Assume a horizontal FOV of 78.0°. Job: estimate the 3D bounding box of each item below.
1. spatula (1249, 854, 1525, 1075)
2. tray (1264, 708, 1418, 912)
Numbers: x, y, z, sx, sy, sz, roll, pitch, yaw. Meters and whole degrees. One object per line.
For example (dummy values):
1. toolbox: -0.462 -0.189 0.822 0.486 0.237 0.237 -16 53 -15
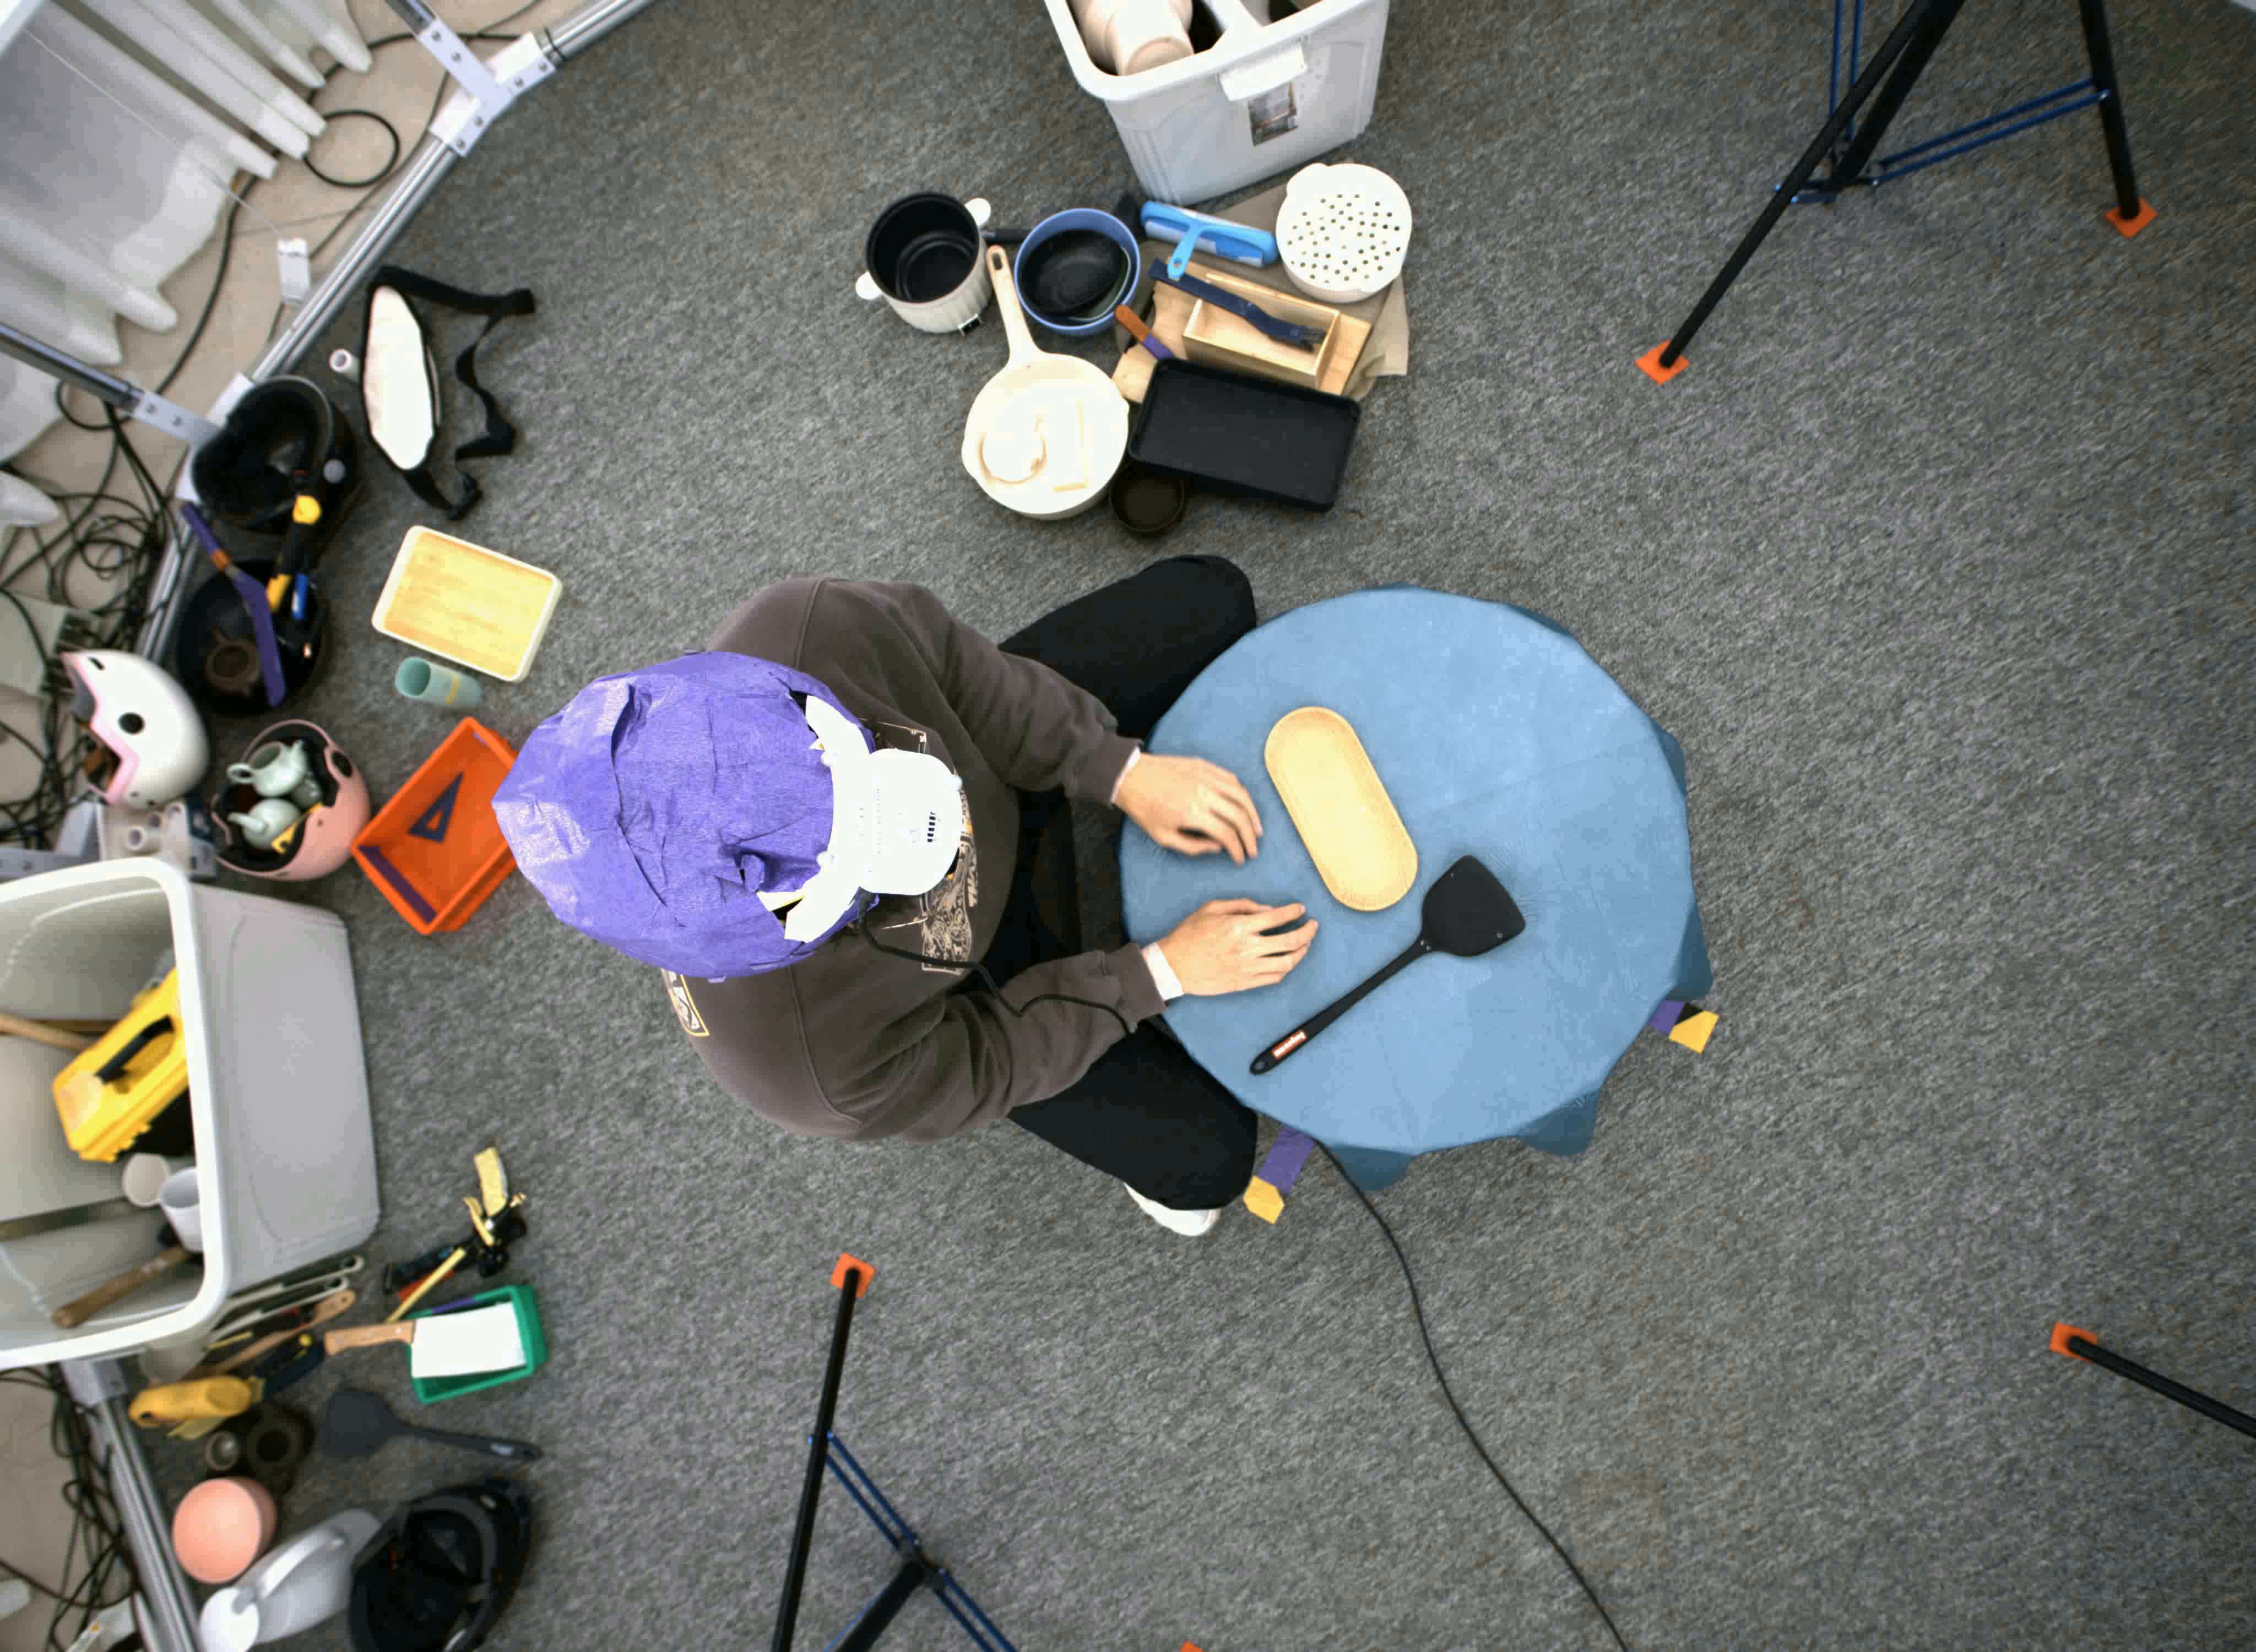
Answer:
1. spatula: 0.256 0.159 1.437 0.328 0.040 0.099 -38 80 7
2. tray: 0.225 -0.019 1.462 0.102 0.020 0.230 -27 84 9
